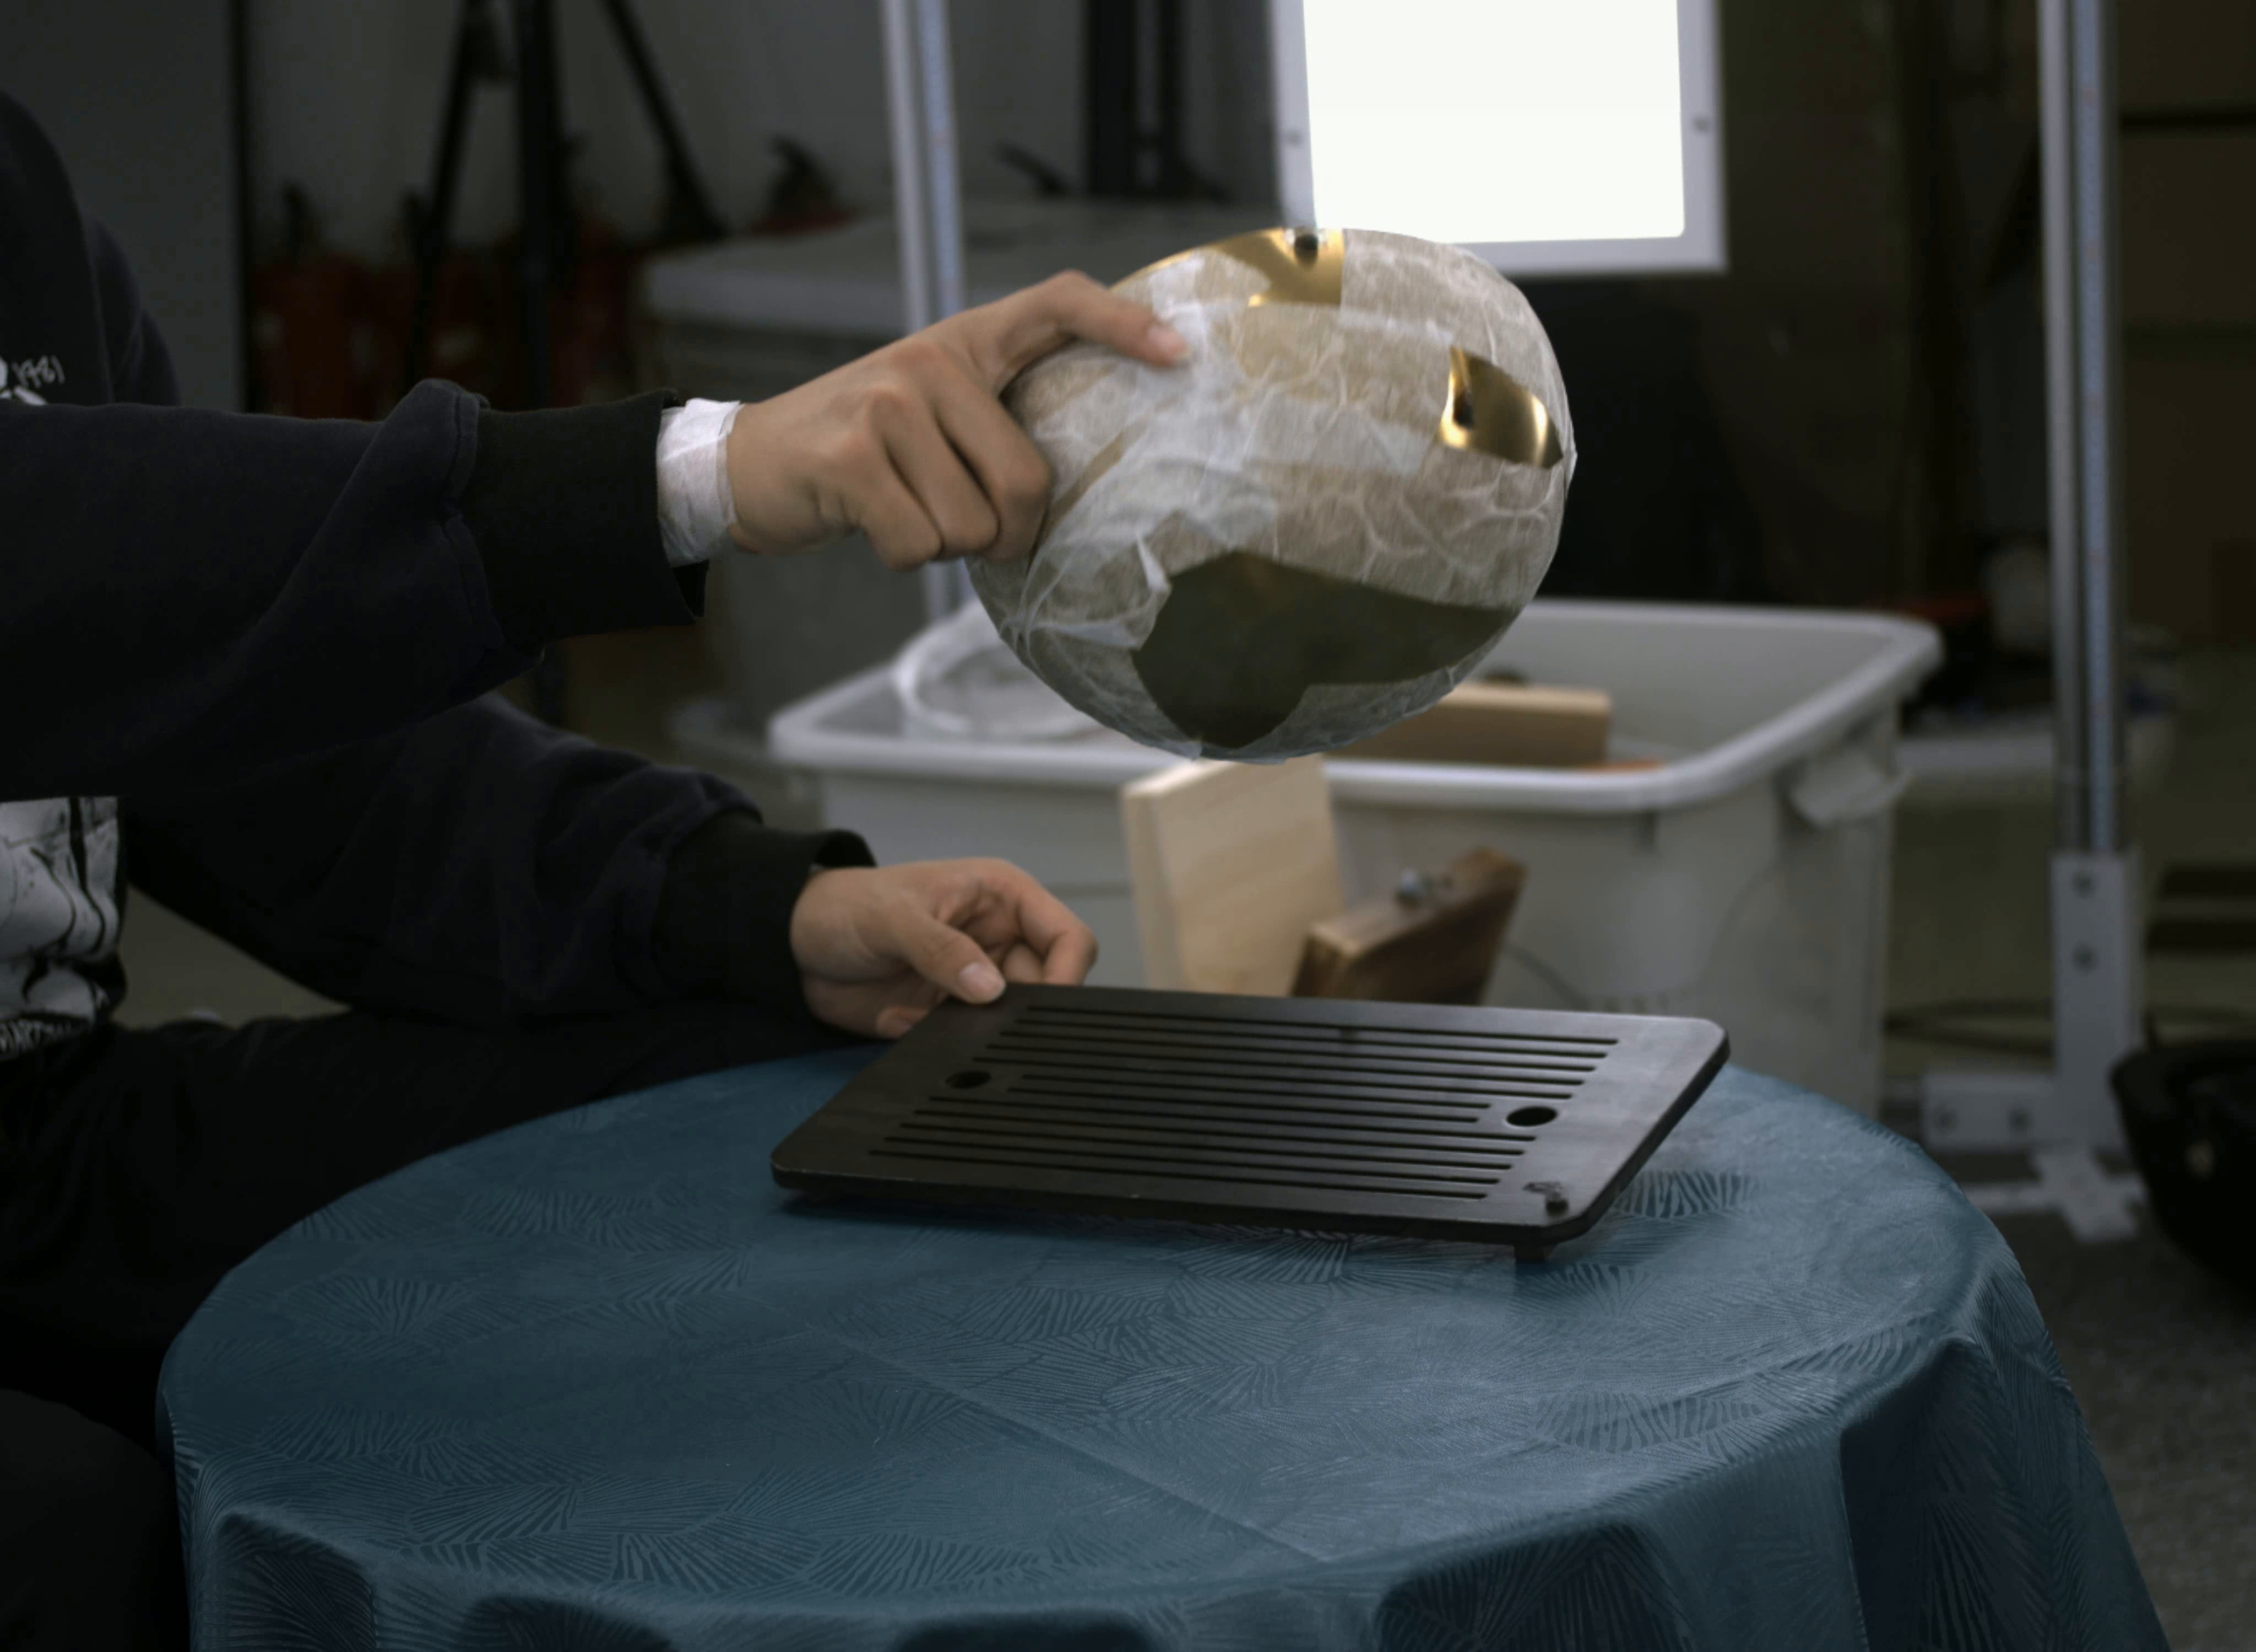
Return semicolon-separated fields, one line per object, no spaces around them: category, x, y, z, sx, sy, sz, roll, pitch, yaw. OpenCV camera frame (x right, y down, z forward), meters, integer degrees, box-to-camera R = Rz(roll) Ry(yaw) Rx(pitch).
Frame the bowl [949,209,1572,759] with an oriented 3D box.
bowl;0.050;-0.087;1.742;0.212;0.216;0.095;-7;49;-12

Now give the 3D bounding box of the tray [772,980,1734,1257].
tray;0.044;0.100;1.913;0.311;0.018;0.166;2;23;27
